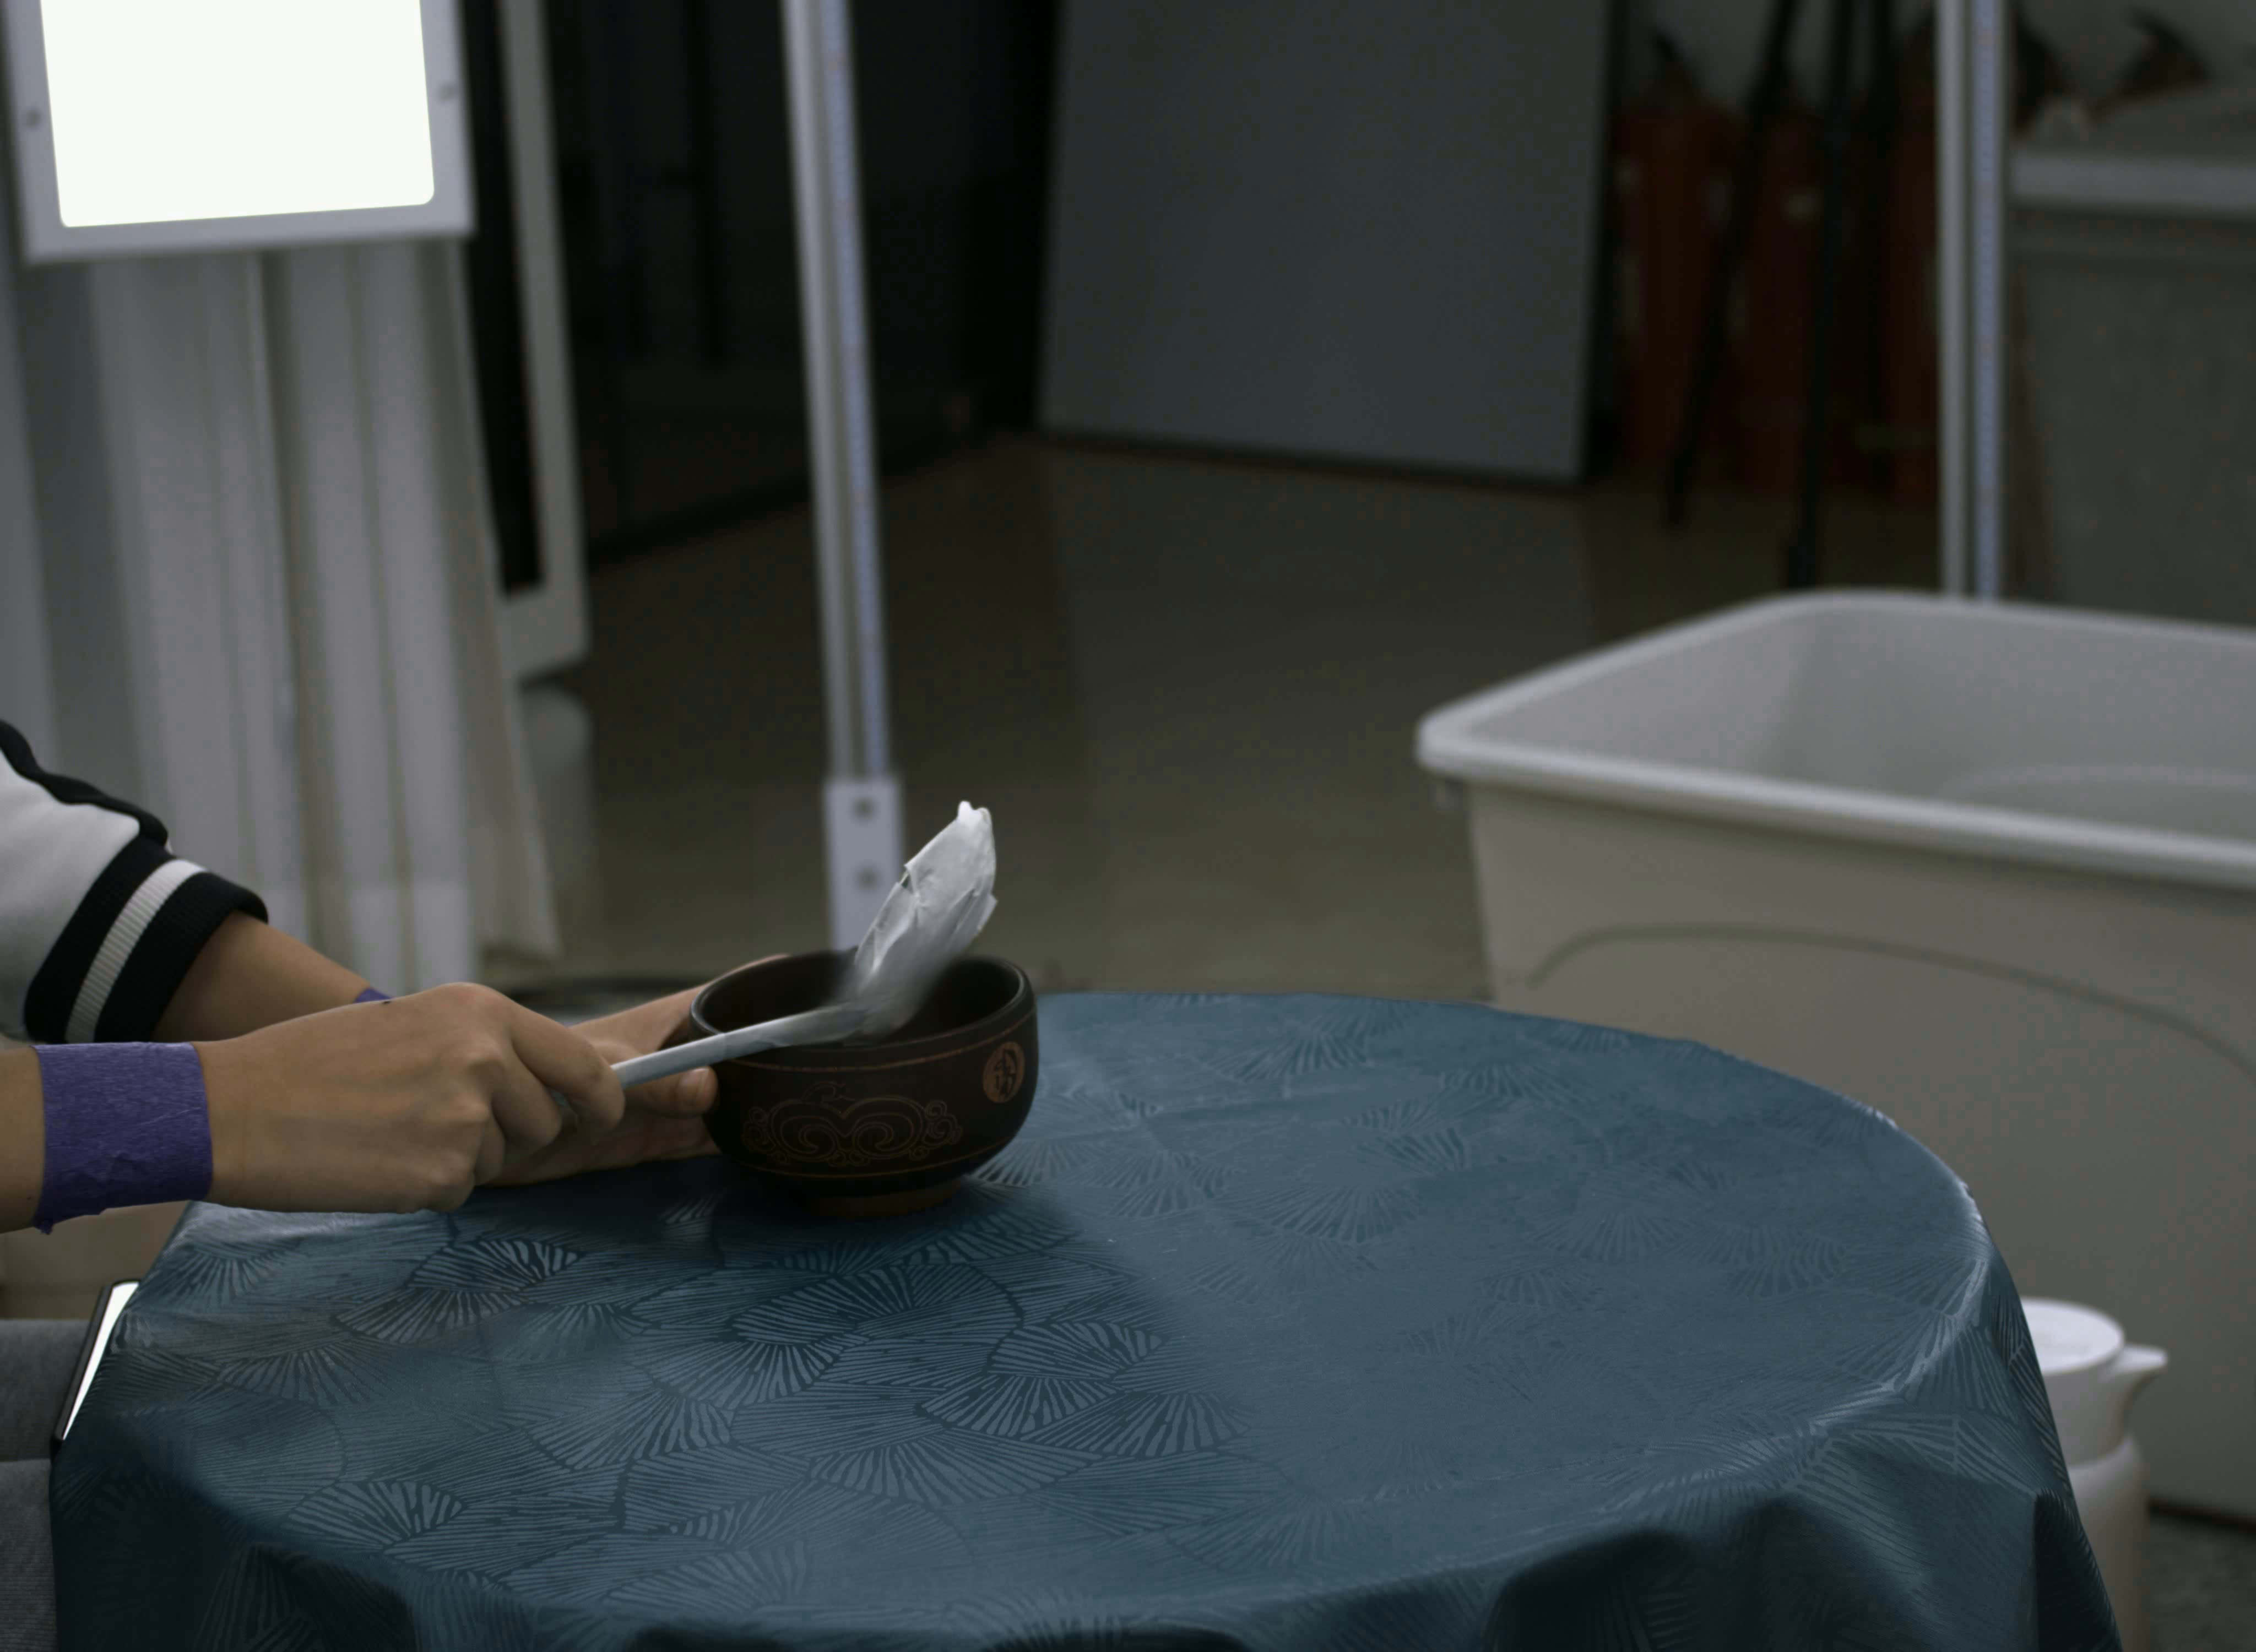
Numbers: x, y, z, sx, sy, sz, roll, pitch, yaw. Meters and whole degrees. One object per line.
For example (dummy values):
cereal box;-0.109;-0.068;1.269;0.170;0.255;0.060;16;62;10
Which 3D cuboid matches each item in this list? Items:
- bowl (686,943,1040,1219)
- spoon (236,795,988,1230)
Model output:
bowl;-0.086;0.087;1.778;0.116;0.070;0.118;-4;15;0
spoon;-0.160;0.064;1.720;0.272;0.101;0.060;-18;53;-18
